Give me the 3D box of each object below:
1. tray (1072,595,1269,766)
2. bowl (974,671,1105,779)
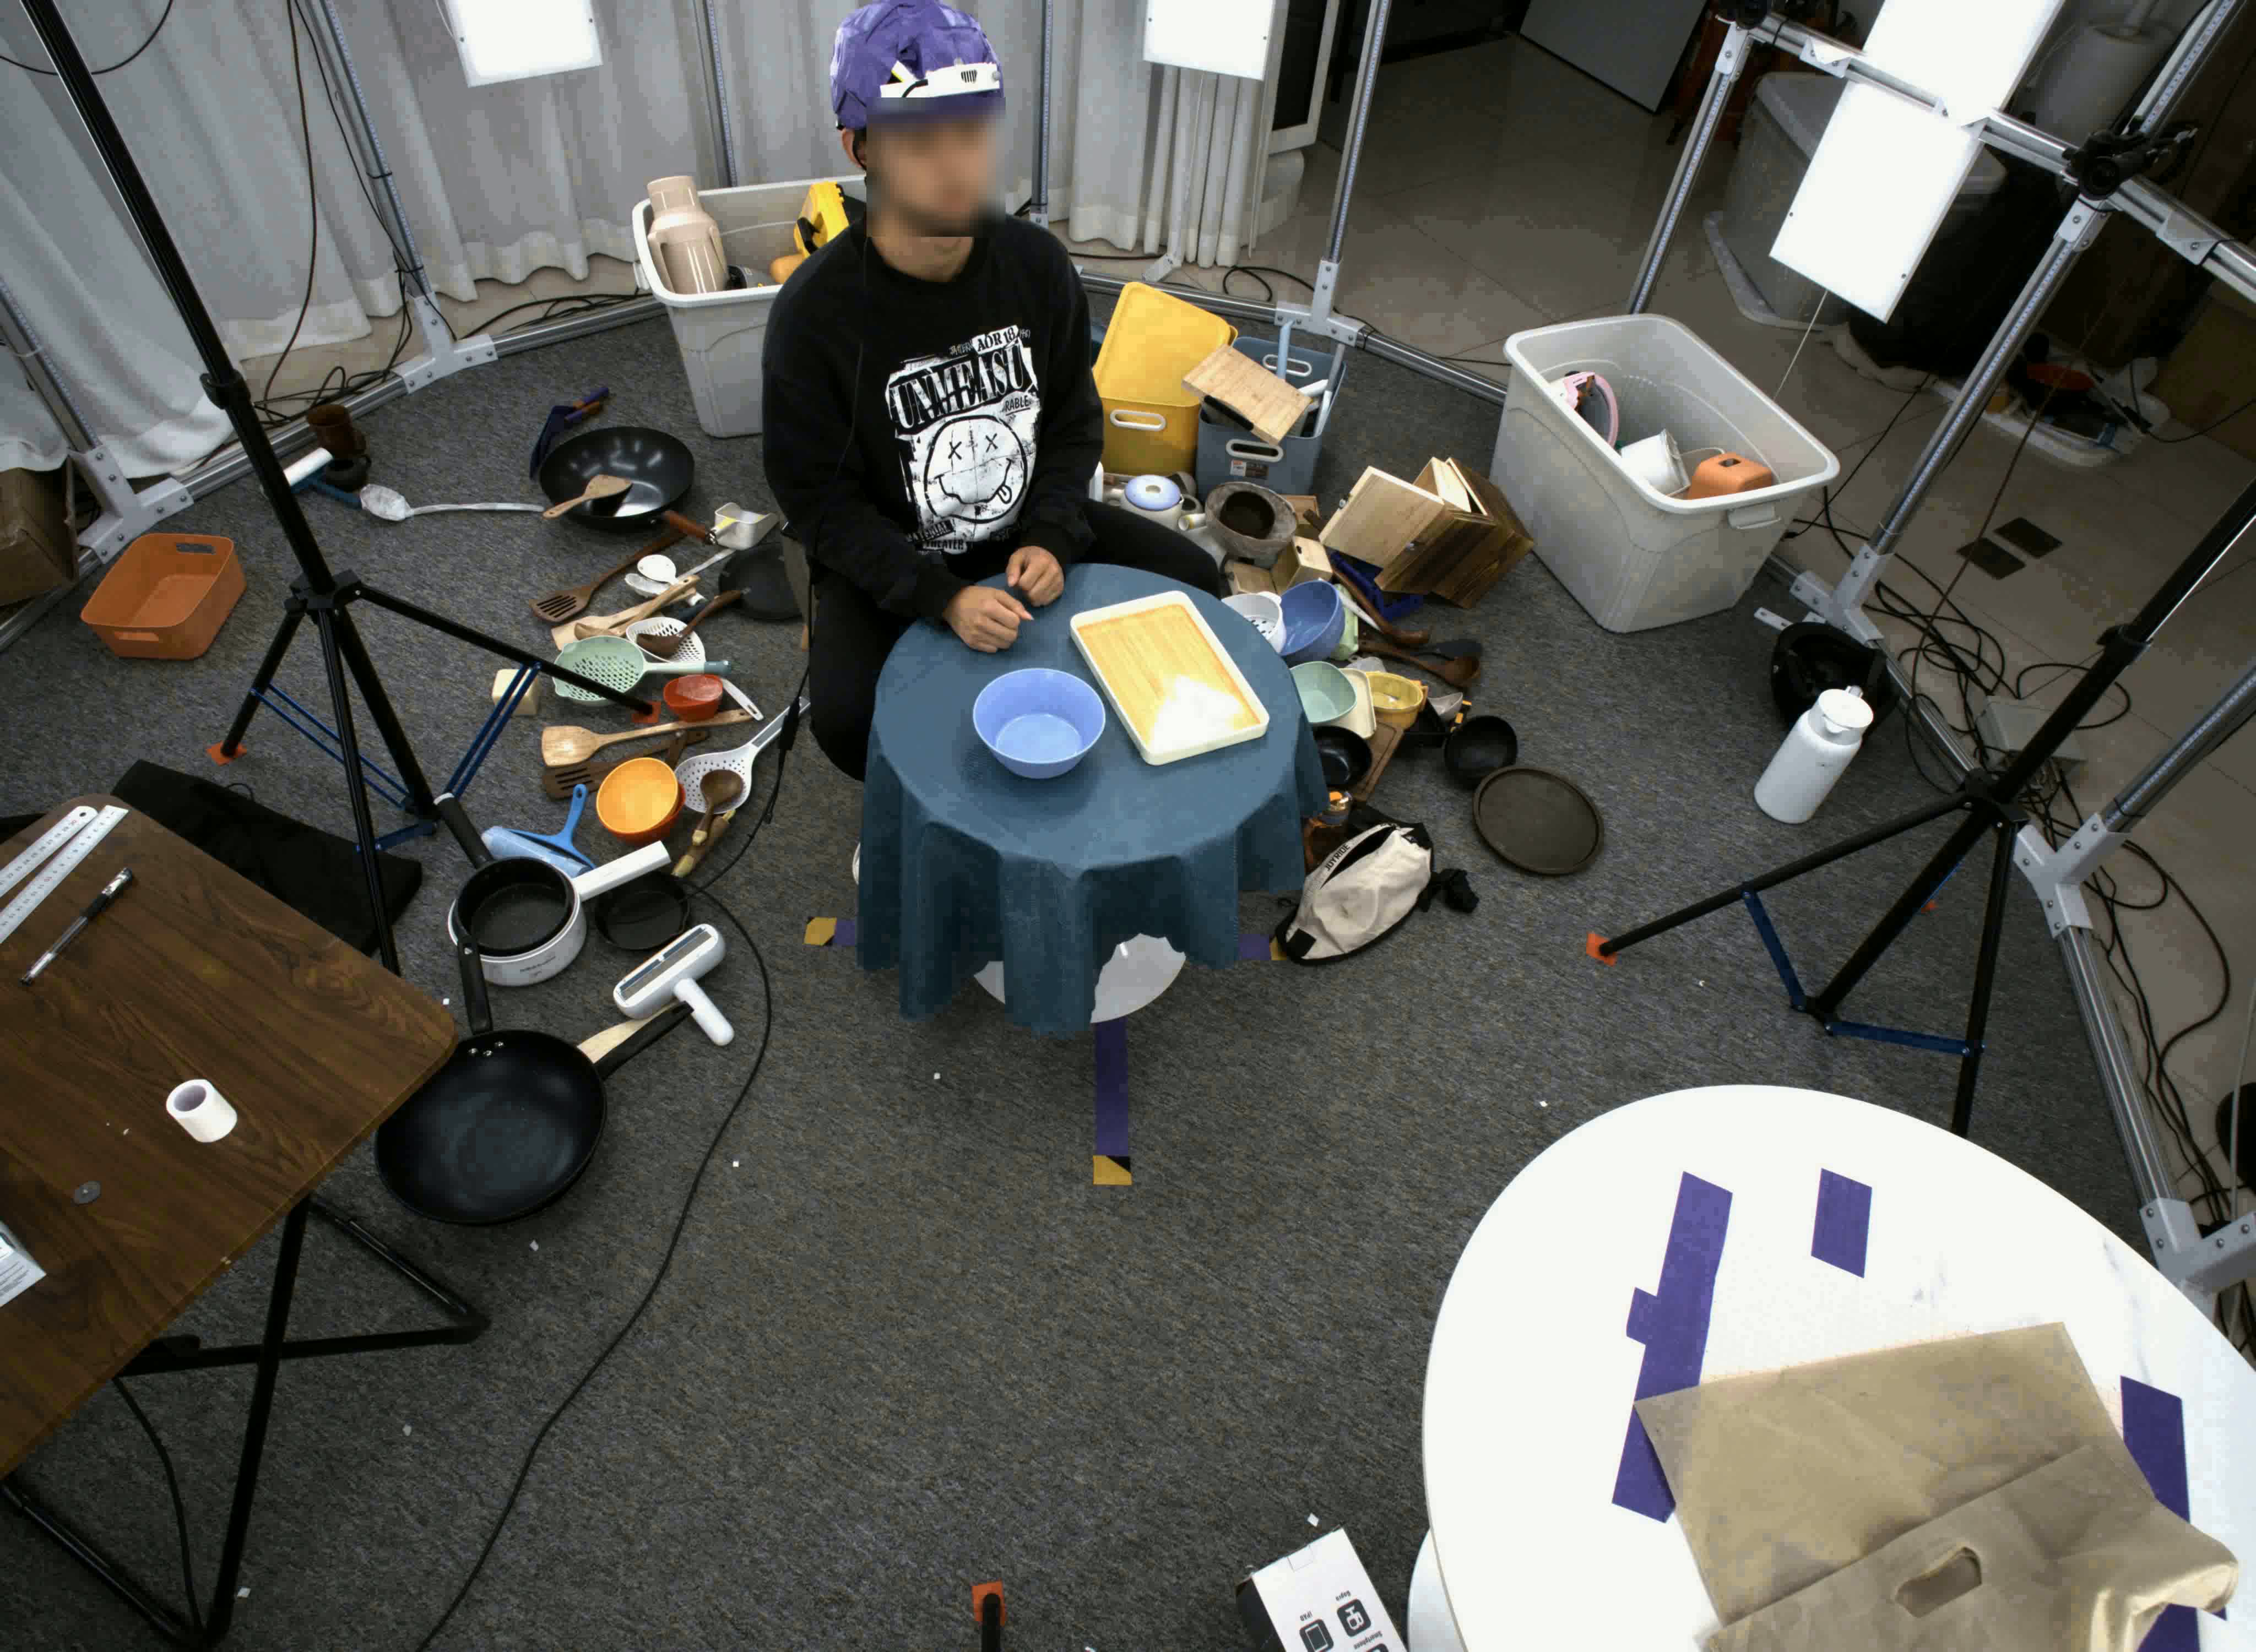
[{"bbox_3d":[0.057,-0.218,1.861,0.192,0.027,0.307,-16,52,-18],"label":"tray"},{"bbox_3d":[-0.120,-0.128,1.741,0.176,0.068,0.180,3,49,-3],"label":"bowl"}]
